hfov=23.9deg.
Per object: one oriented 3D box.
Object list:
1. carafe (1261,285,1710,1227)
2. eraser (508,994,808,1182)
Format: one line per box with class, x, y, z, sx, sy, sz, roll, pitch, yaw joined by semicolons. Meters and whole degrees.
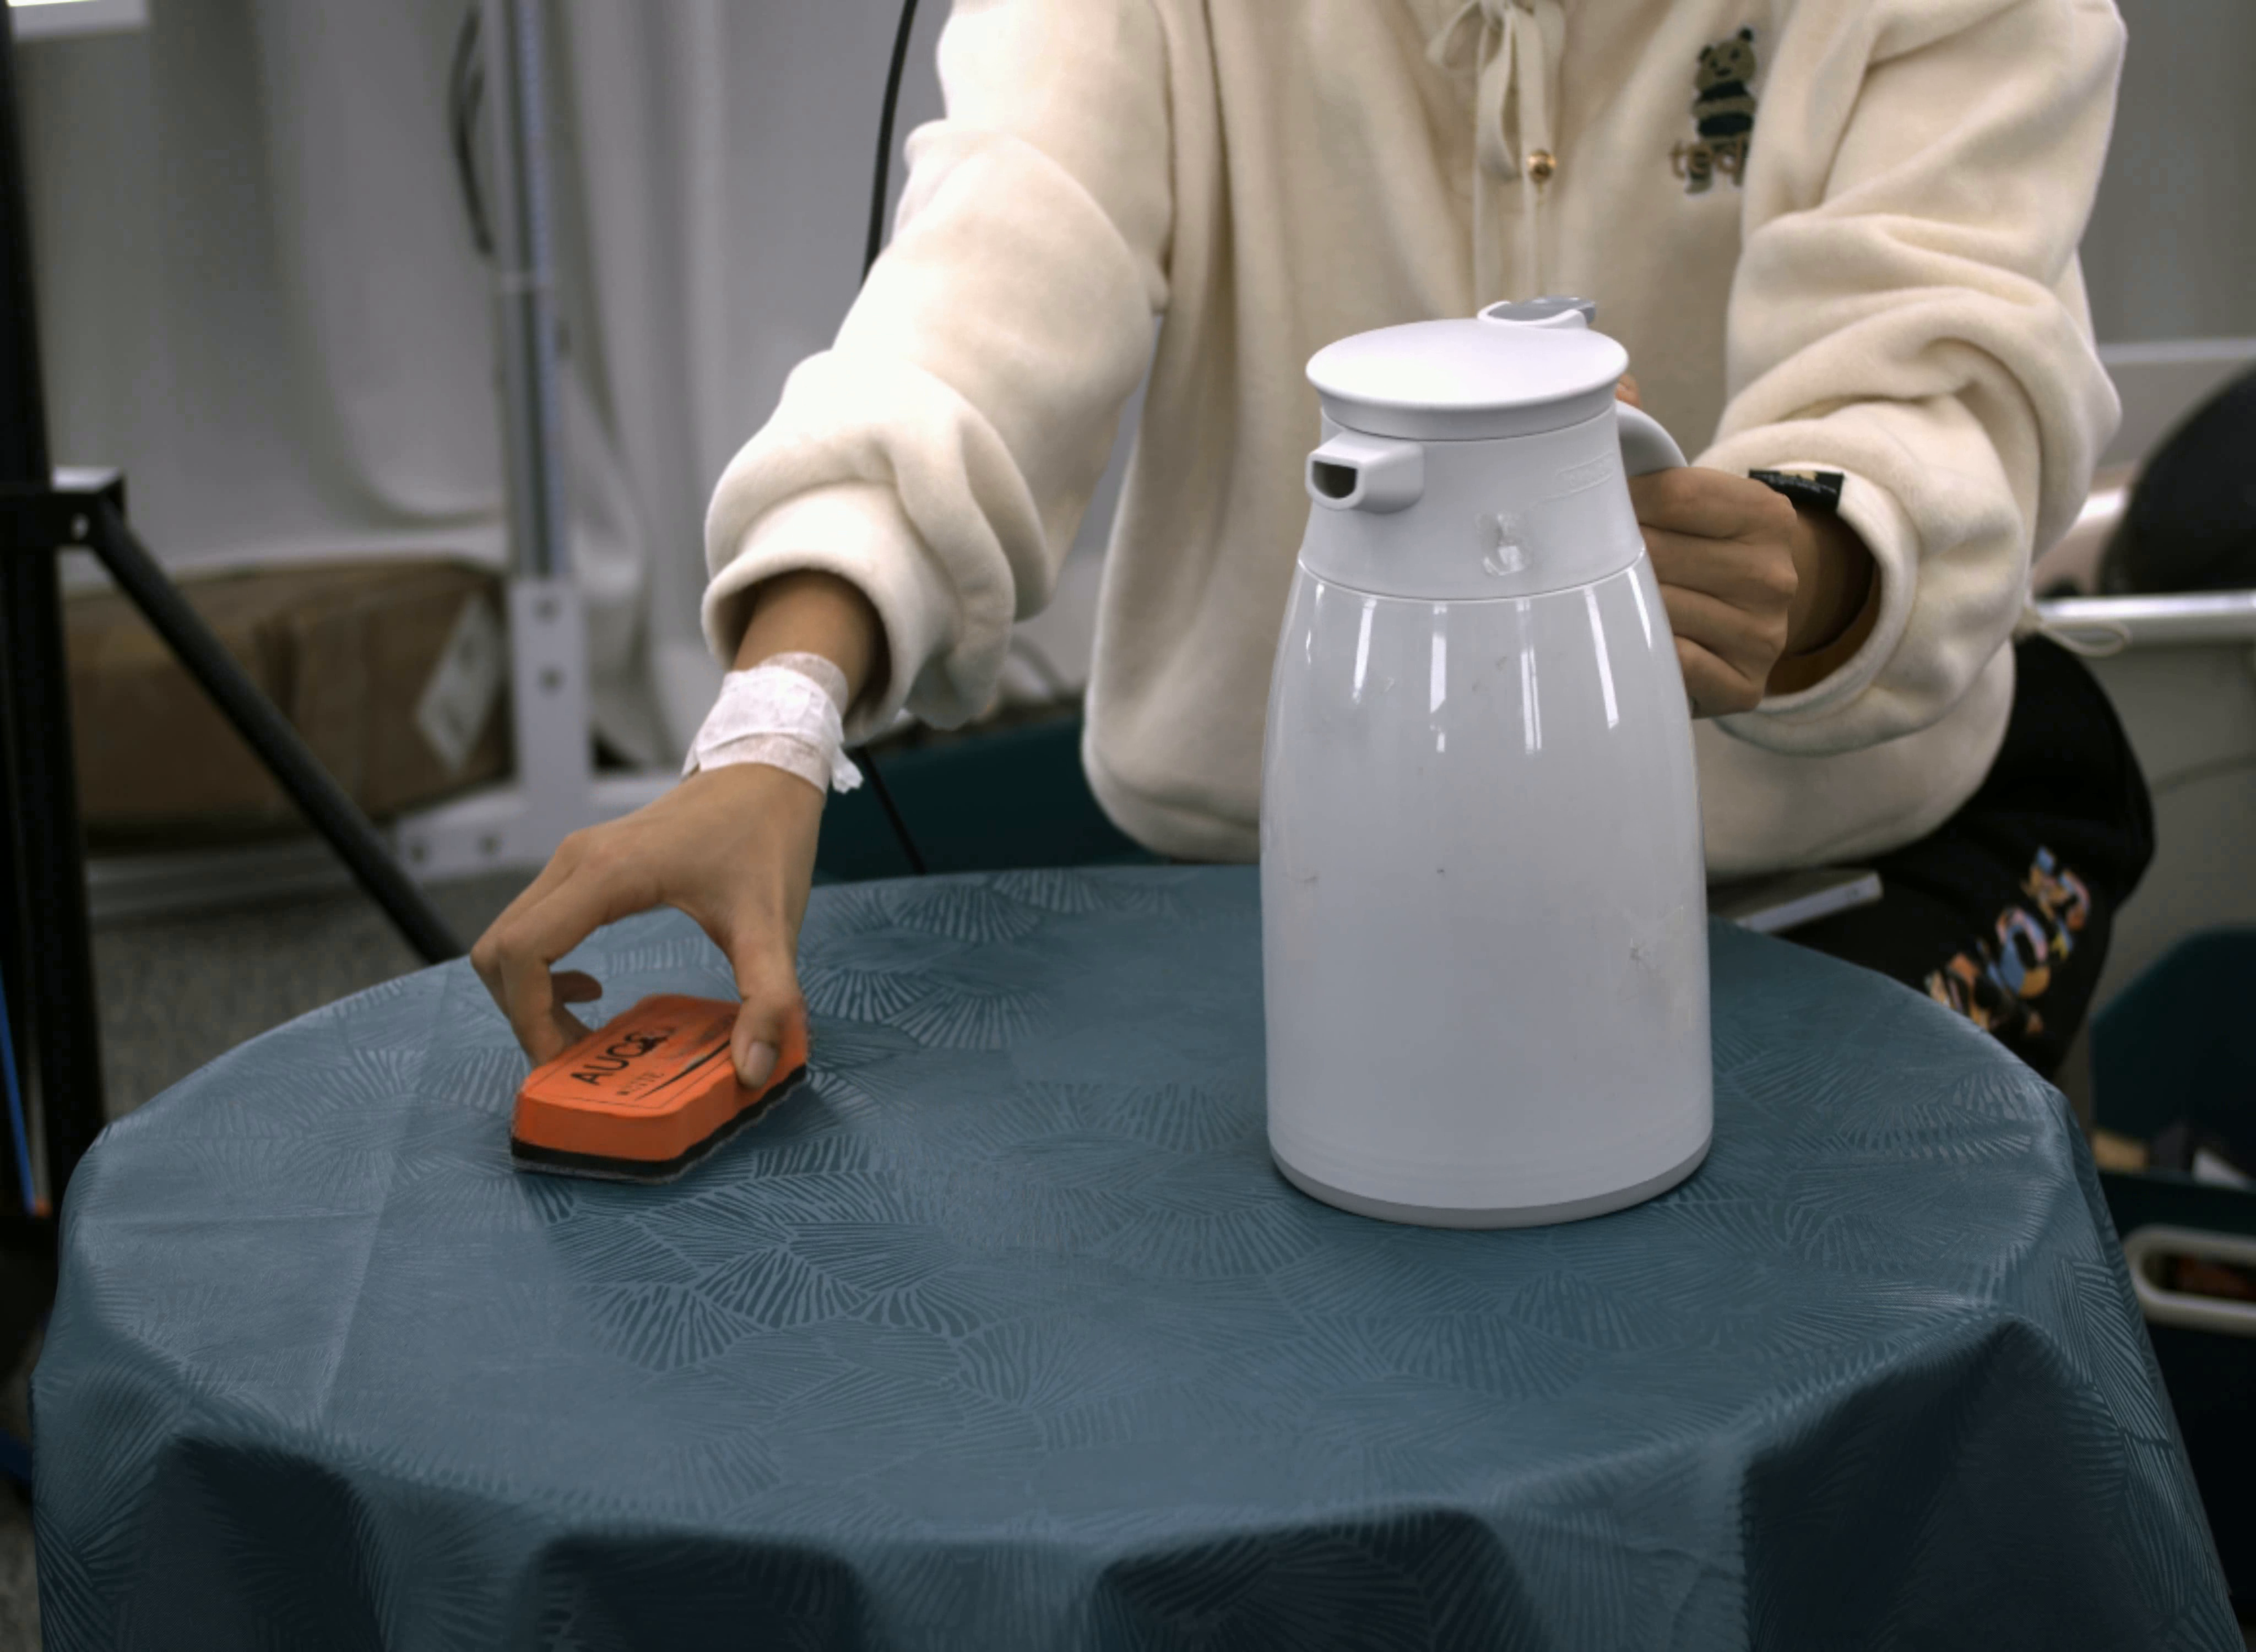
carafe;0.113;-0.029;1.547;0.135;0.248;0.164;13;23;38
eraser;-0.143;0.080;1.634;0.060;0.023;0.106;8;18;20
